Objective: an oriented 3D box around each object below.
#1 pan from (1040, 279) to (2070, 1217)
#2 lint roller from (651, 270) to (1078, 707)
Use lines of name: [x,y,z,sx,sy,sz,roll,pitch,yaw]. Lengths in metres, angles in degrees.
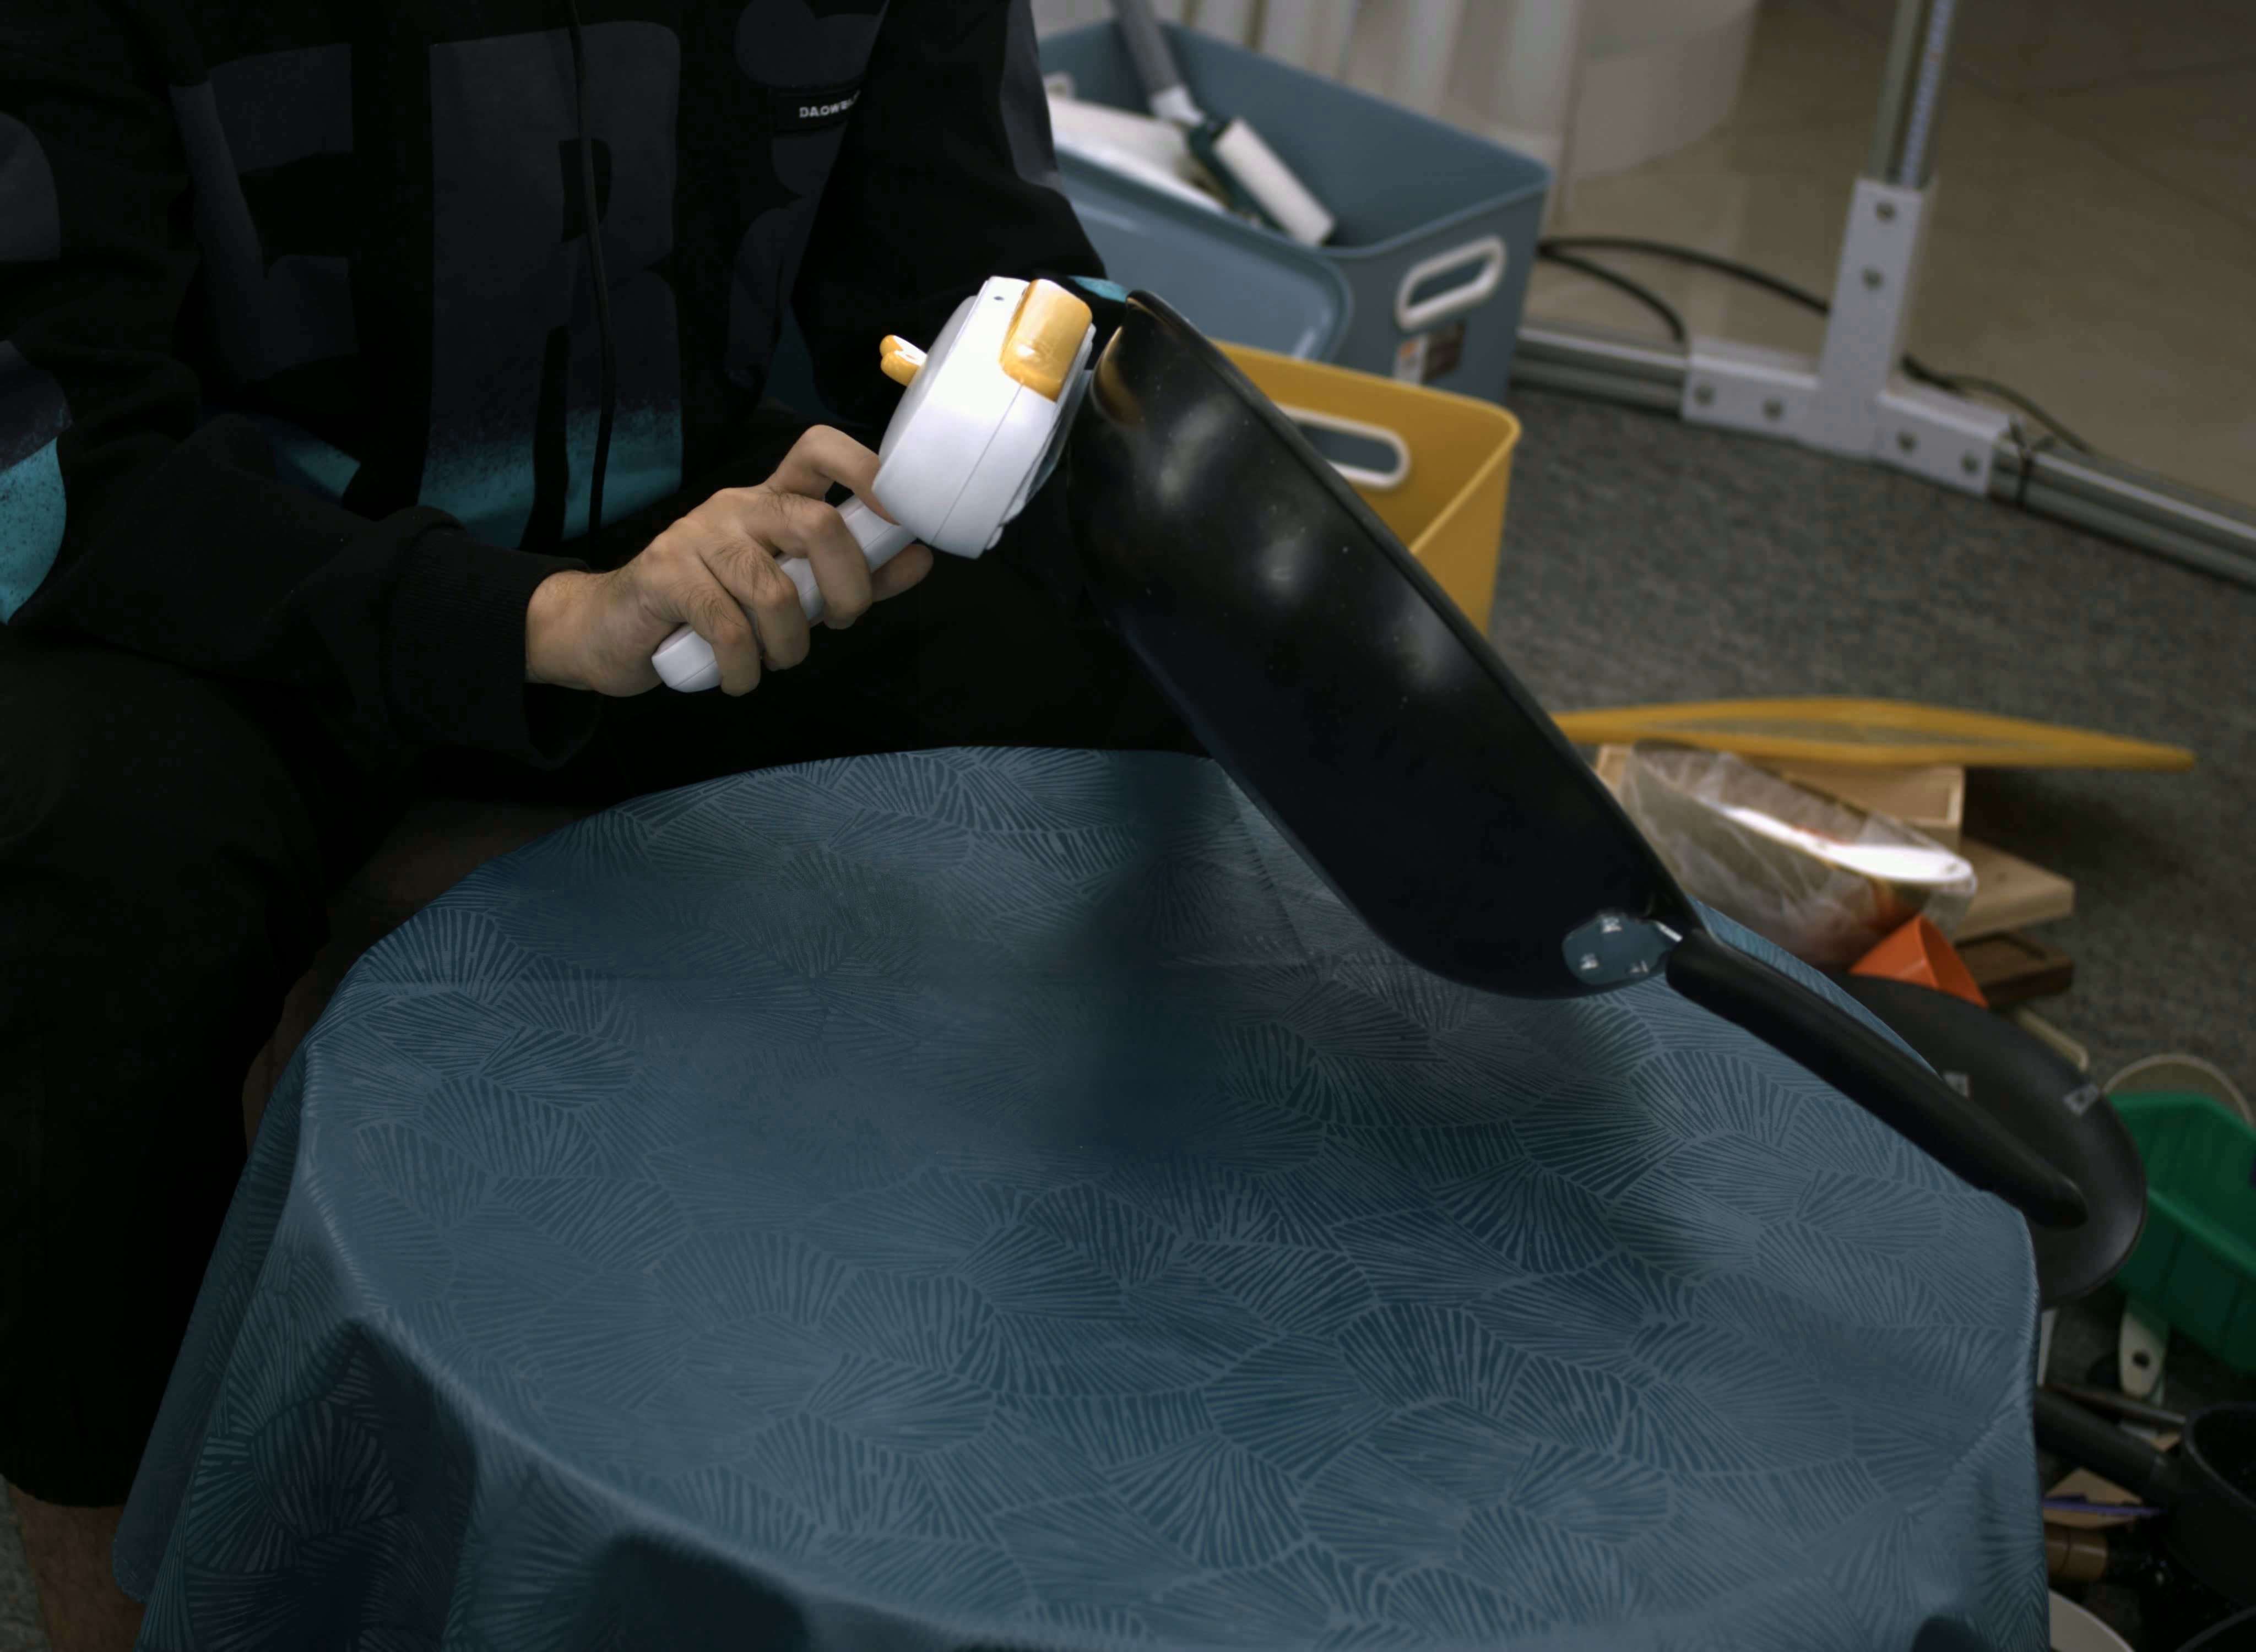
pan: [0.123,-0.001,1.813,0.481,0.111,0.307,48,1,30]
lint roller: [-0.091,-0.108,1.895,0.074,0.192,0.193,37,12,-11]
